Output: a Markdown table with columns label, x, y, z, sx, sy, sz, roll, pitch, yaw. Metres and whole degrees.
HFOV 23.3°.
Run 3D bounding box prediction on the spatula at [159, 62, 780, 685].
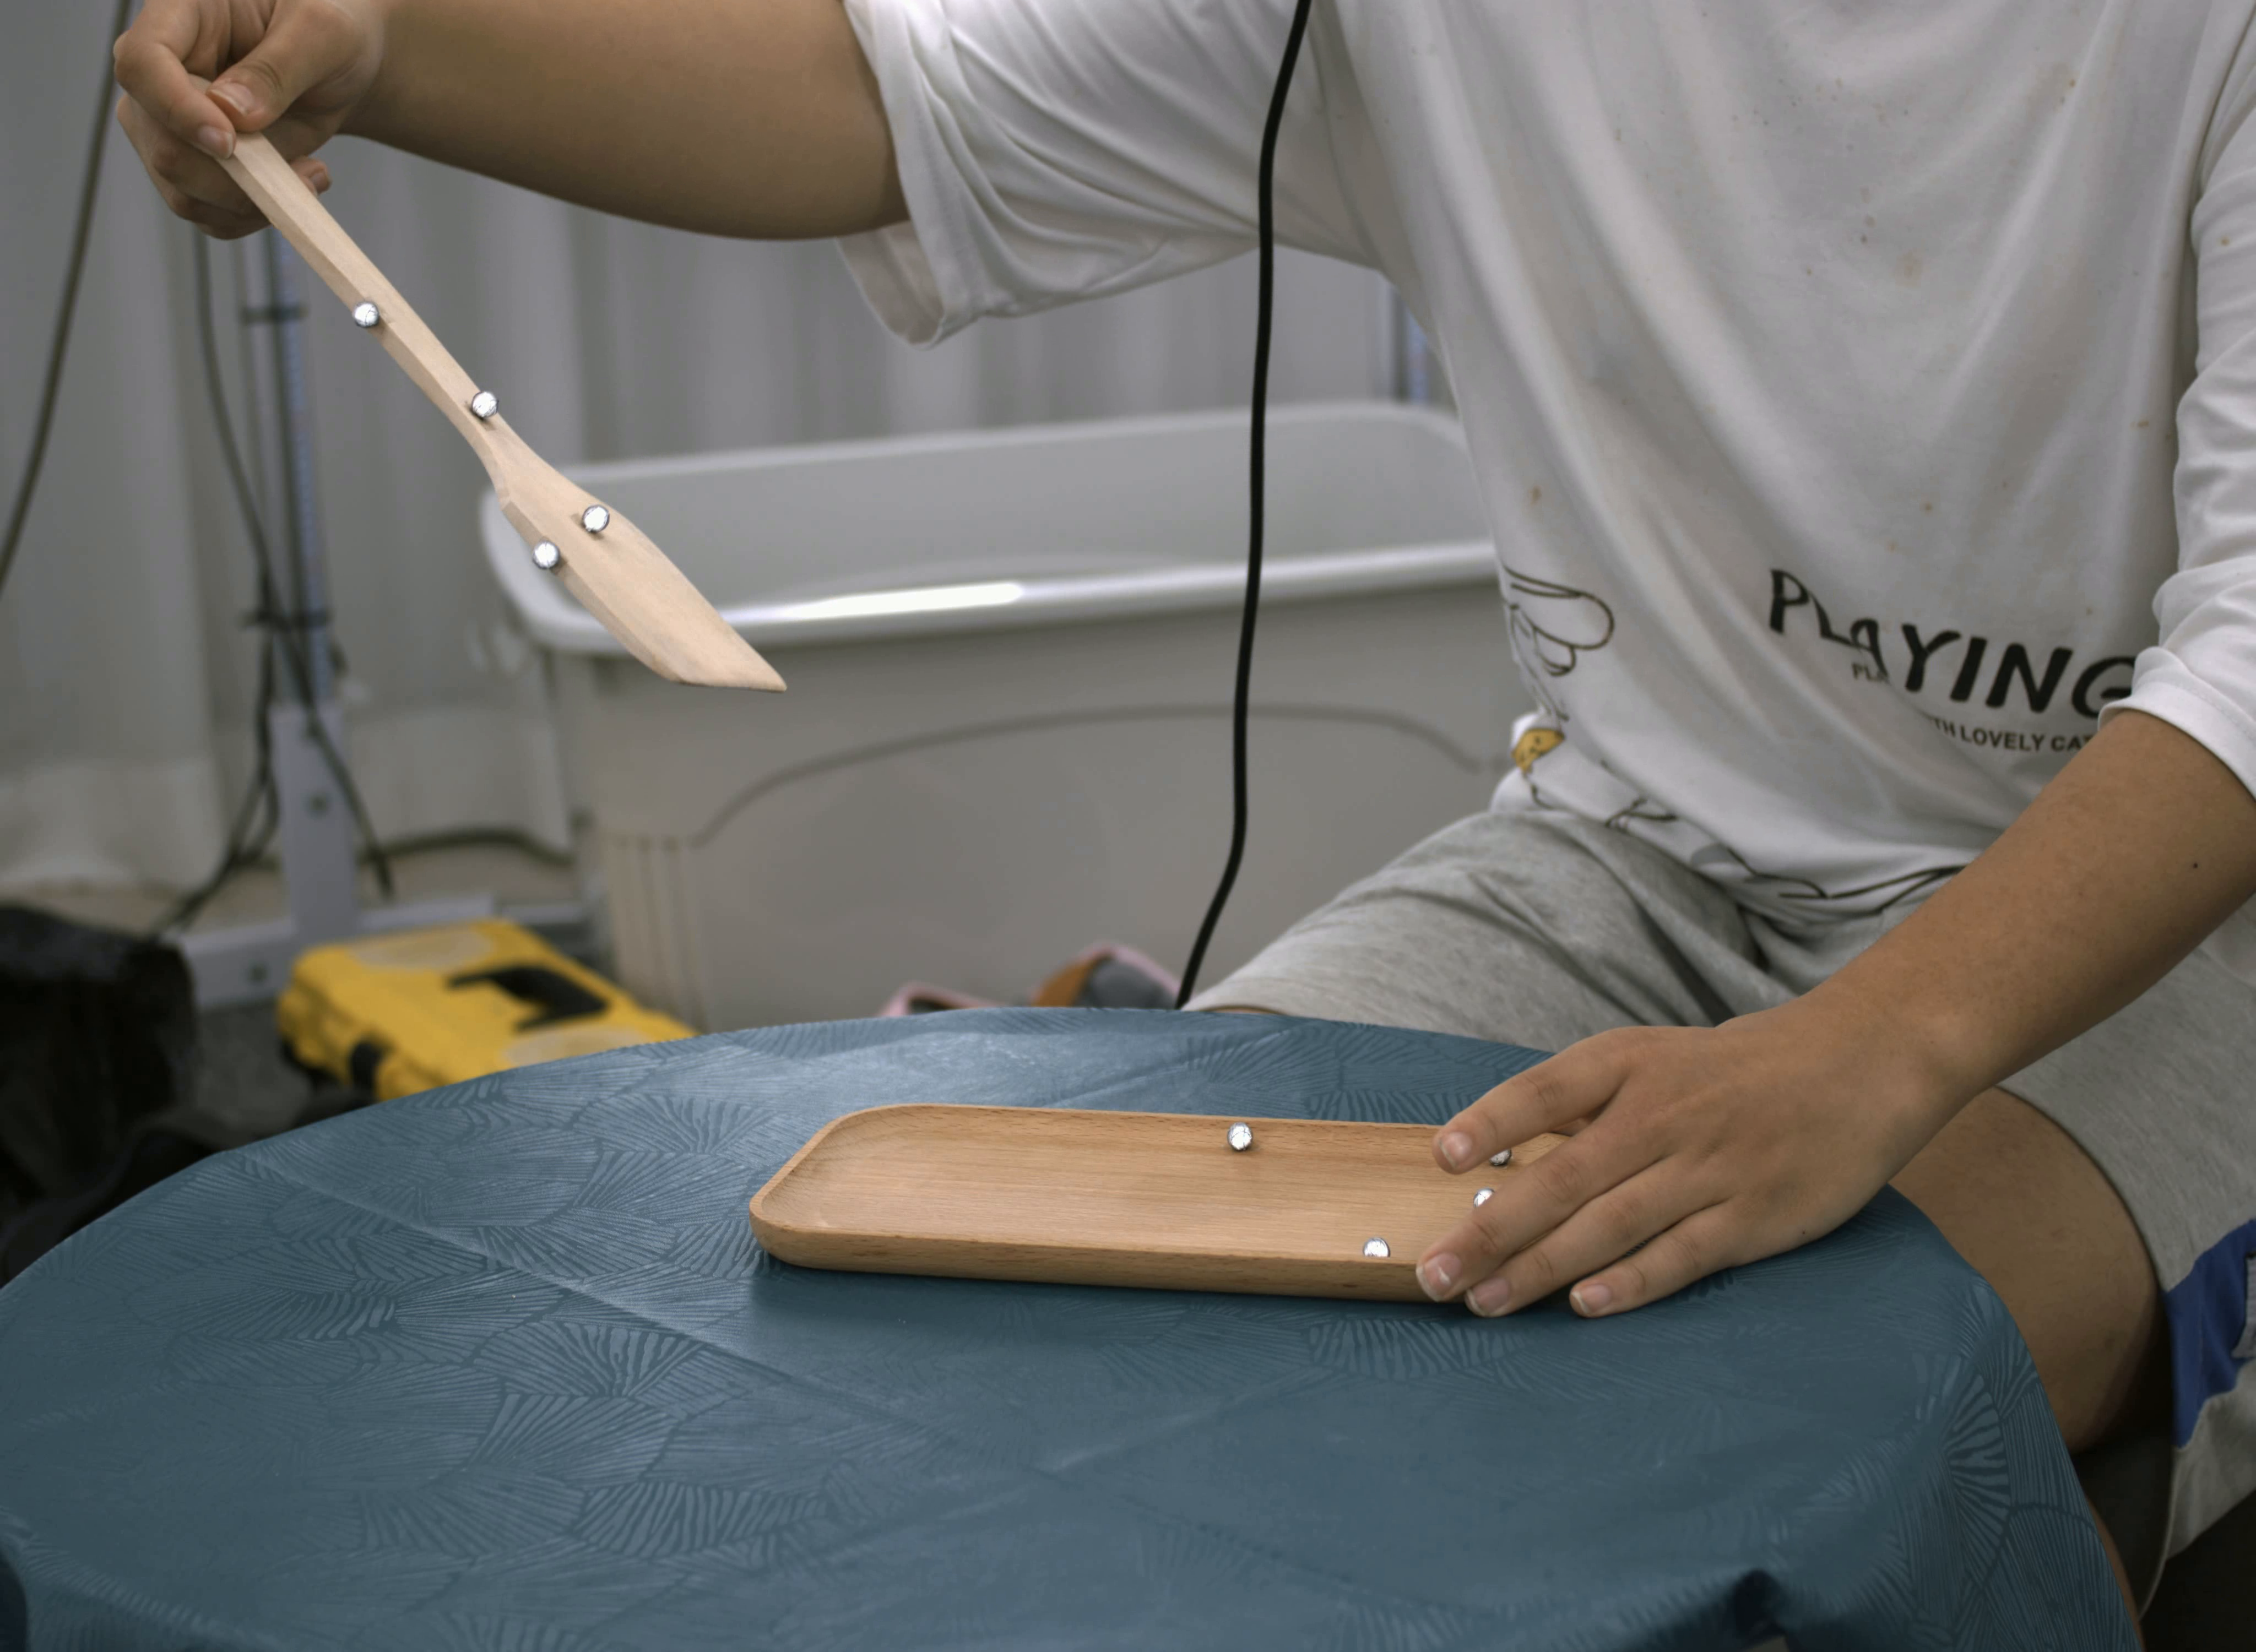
| label | x | y | z | sx | sy | sz | roll | pitch | yaw |
| --- | --- | --- | --- | --- | --- | --- | --- | --- | --- |
| spatula | -0.217 | -0.145 | 1.734 | 0.295 | 0.010 | 0.072 | 48 | 19 | 20 |

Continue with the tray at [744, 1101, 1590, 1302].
| label | x | y | z | sx | sy | sz | roll | pitch | yaw |
| --- | --- | --- | --- | --- | --- | --- | --- | --- | --- |
| tray | 0.012 | 0.115 | 1.685 | 0.250 | 0.023 | 0.131 | 1 | 13 | 17 |
